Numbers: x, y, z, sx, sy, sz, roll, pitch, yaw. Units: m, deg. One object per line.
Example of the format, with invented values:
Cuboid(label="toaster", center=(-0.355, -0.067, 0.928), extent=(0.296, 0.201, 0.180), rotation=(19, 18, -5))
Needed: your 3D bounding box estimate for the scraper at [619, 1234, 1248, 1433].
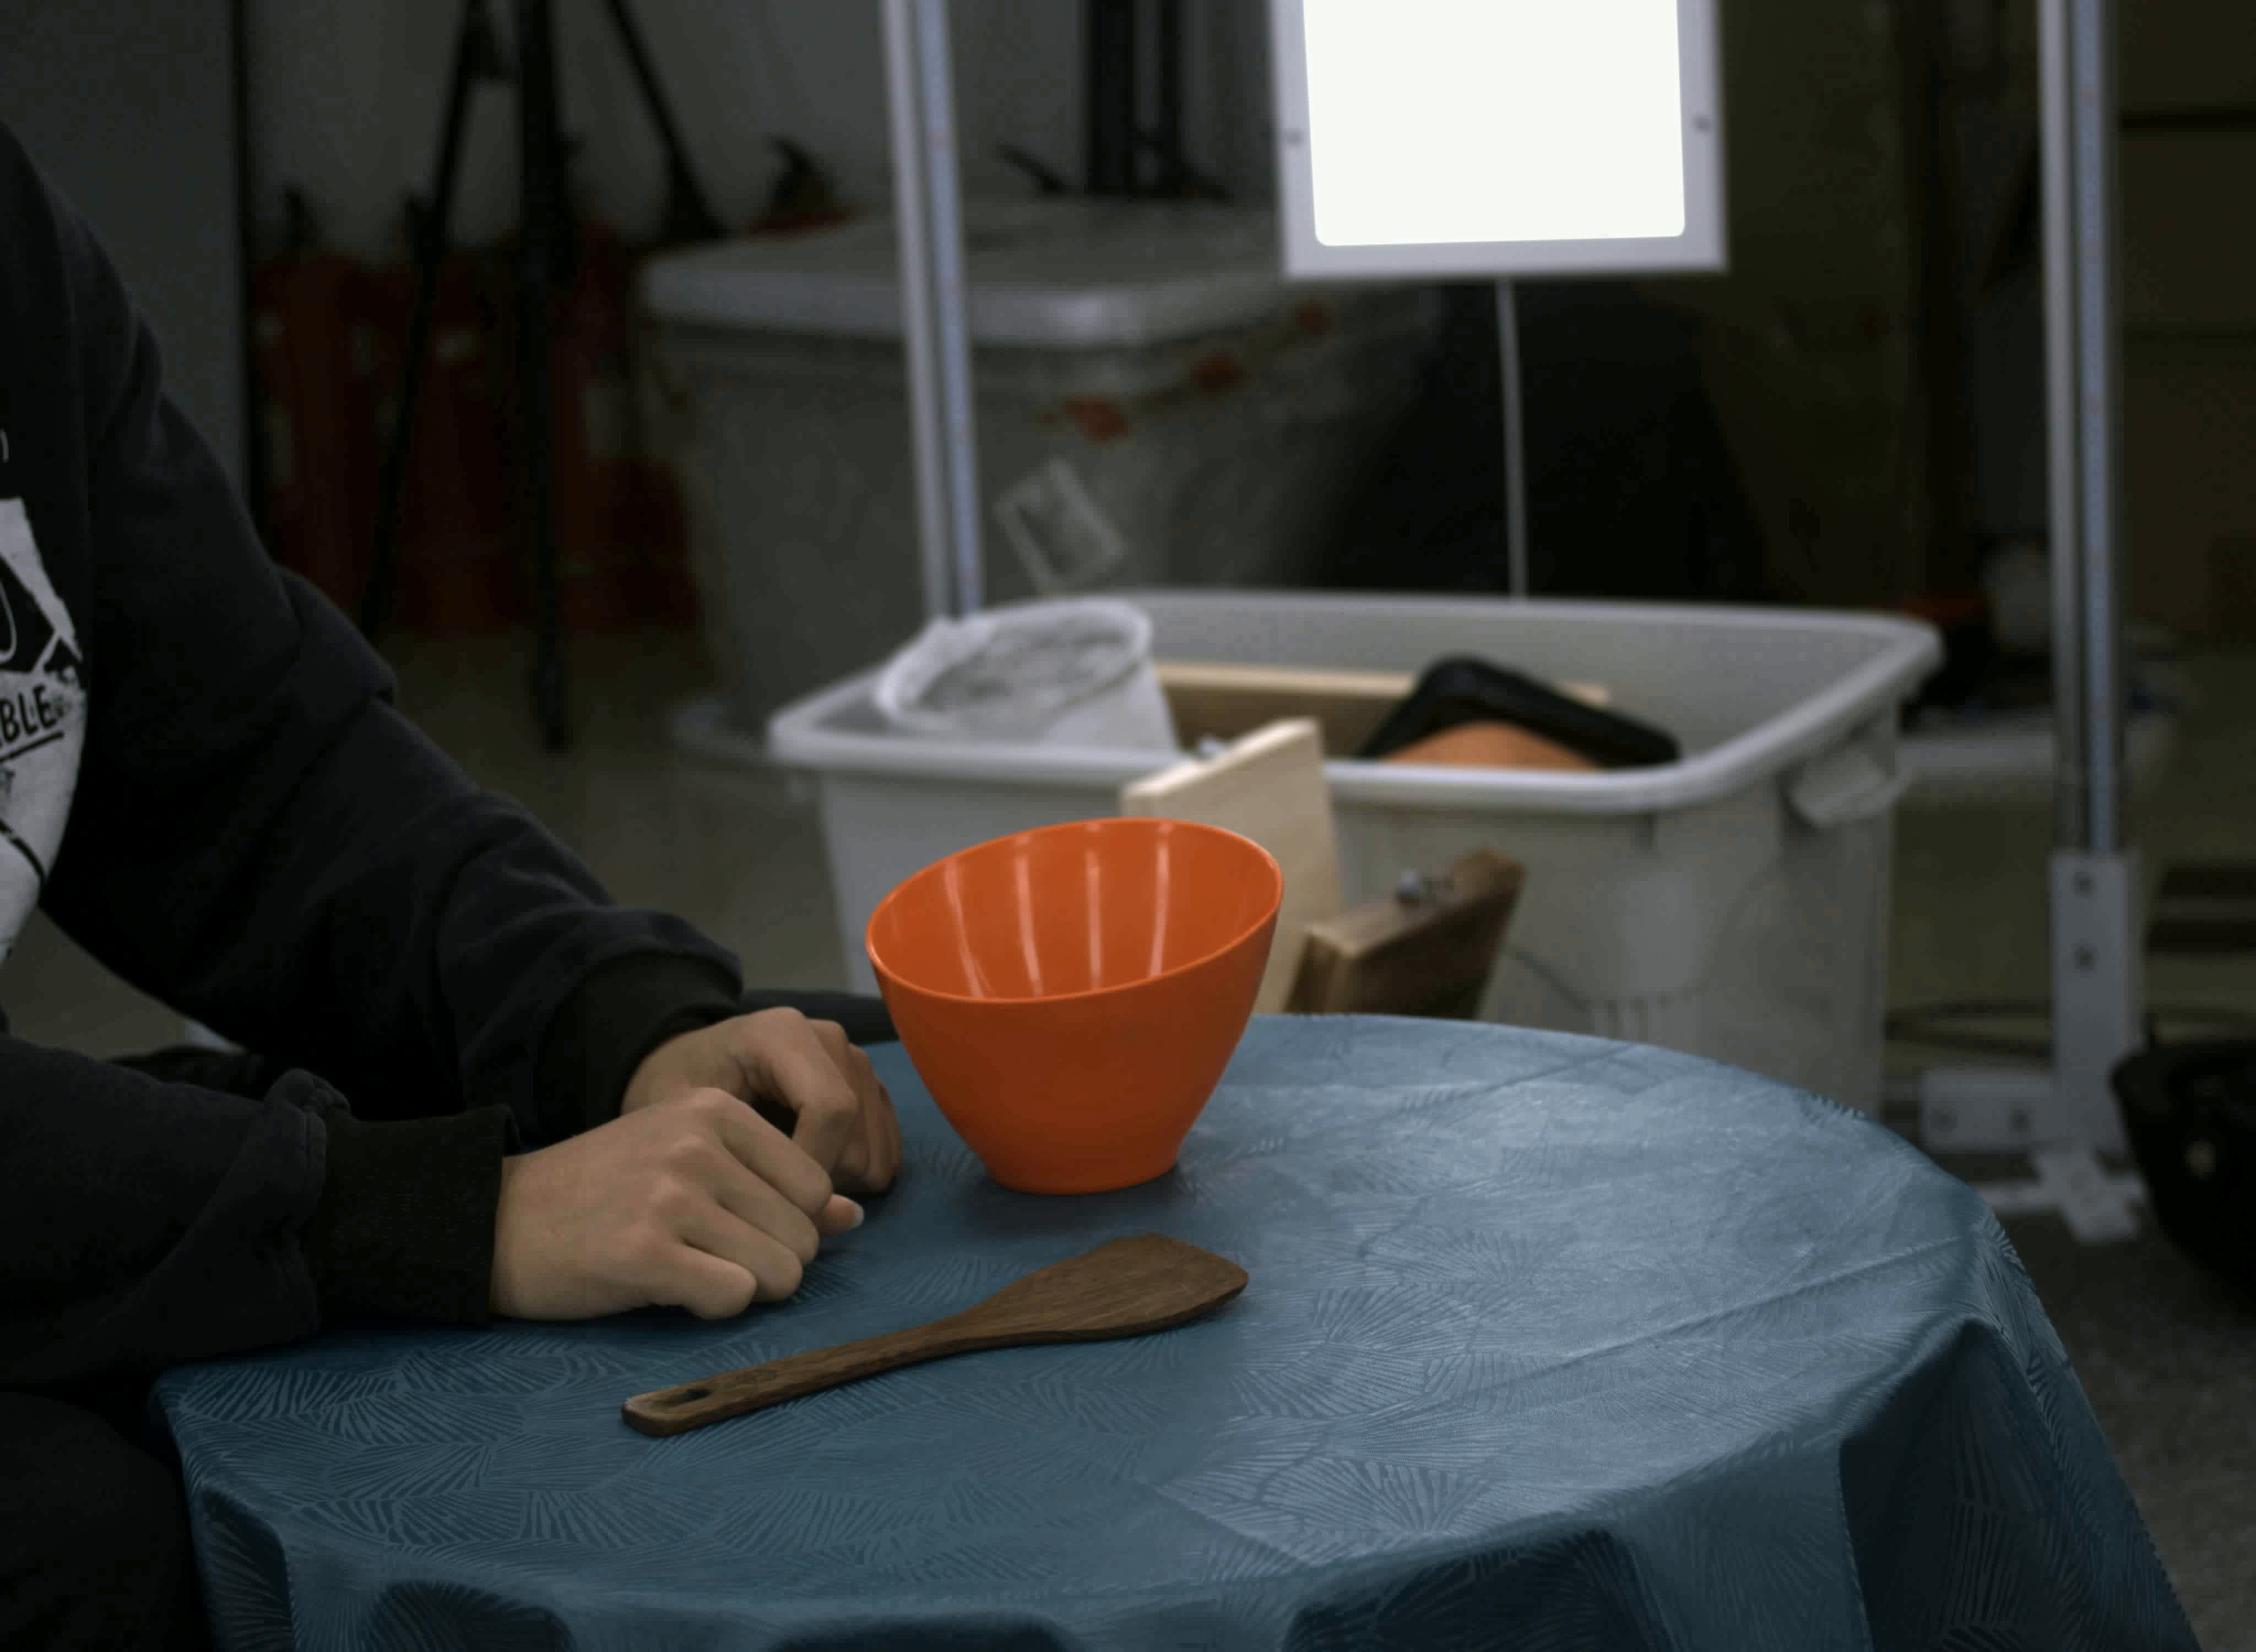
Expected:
Cuboid(label="scraper", center=(-0.063, 0.164, 1.752), extent=(0.207, 0.011, 0.077), rotation=(-13, 15, -26))

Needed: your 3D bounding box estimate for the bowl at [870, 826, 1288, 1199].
Cuboid(label="bowl", center=(-0.015, 0.068, 1.928), extent=(0.147, 0.105, 0.148), rotation=(-4, 14, 0))
